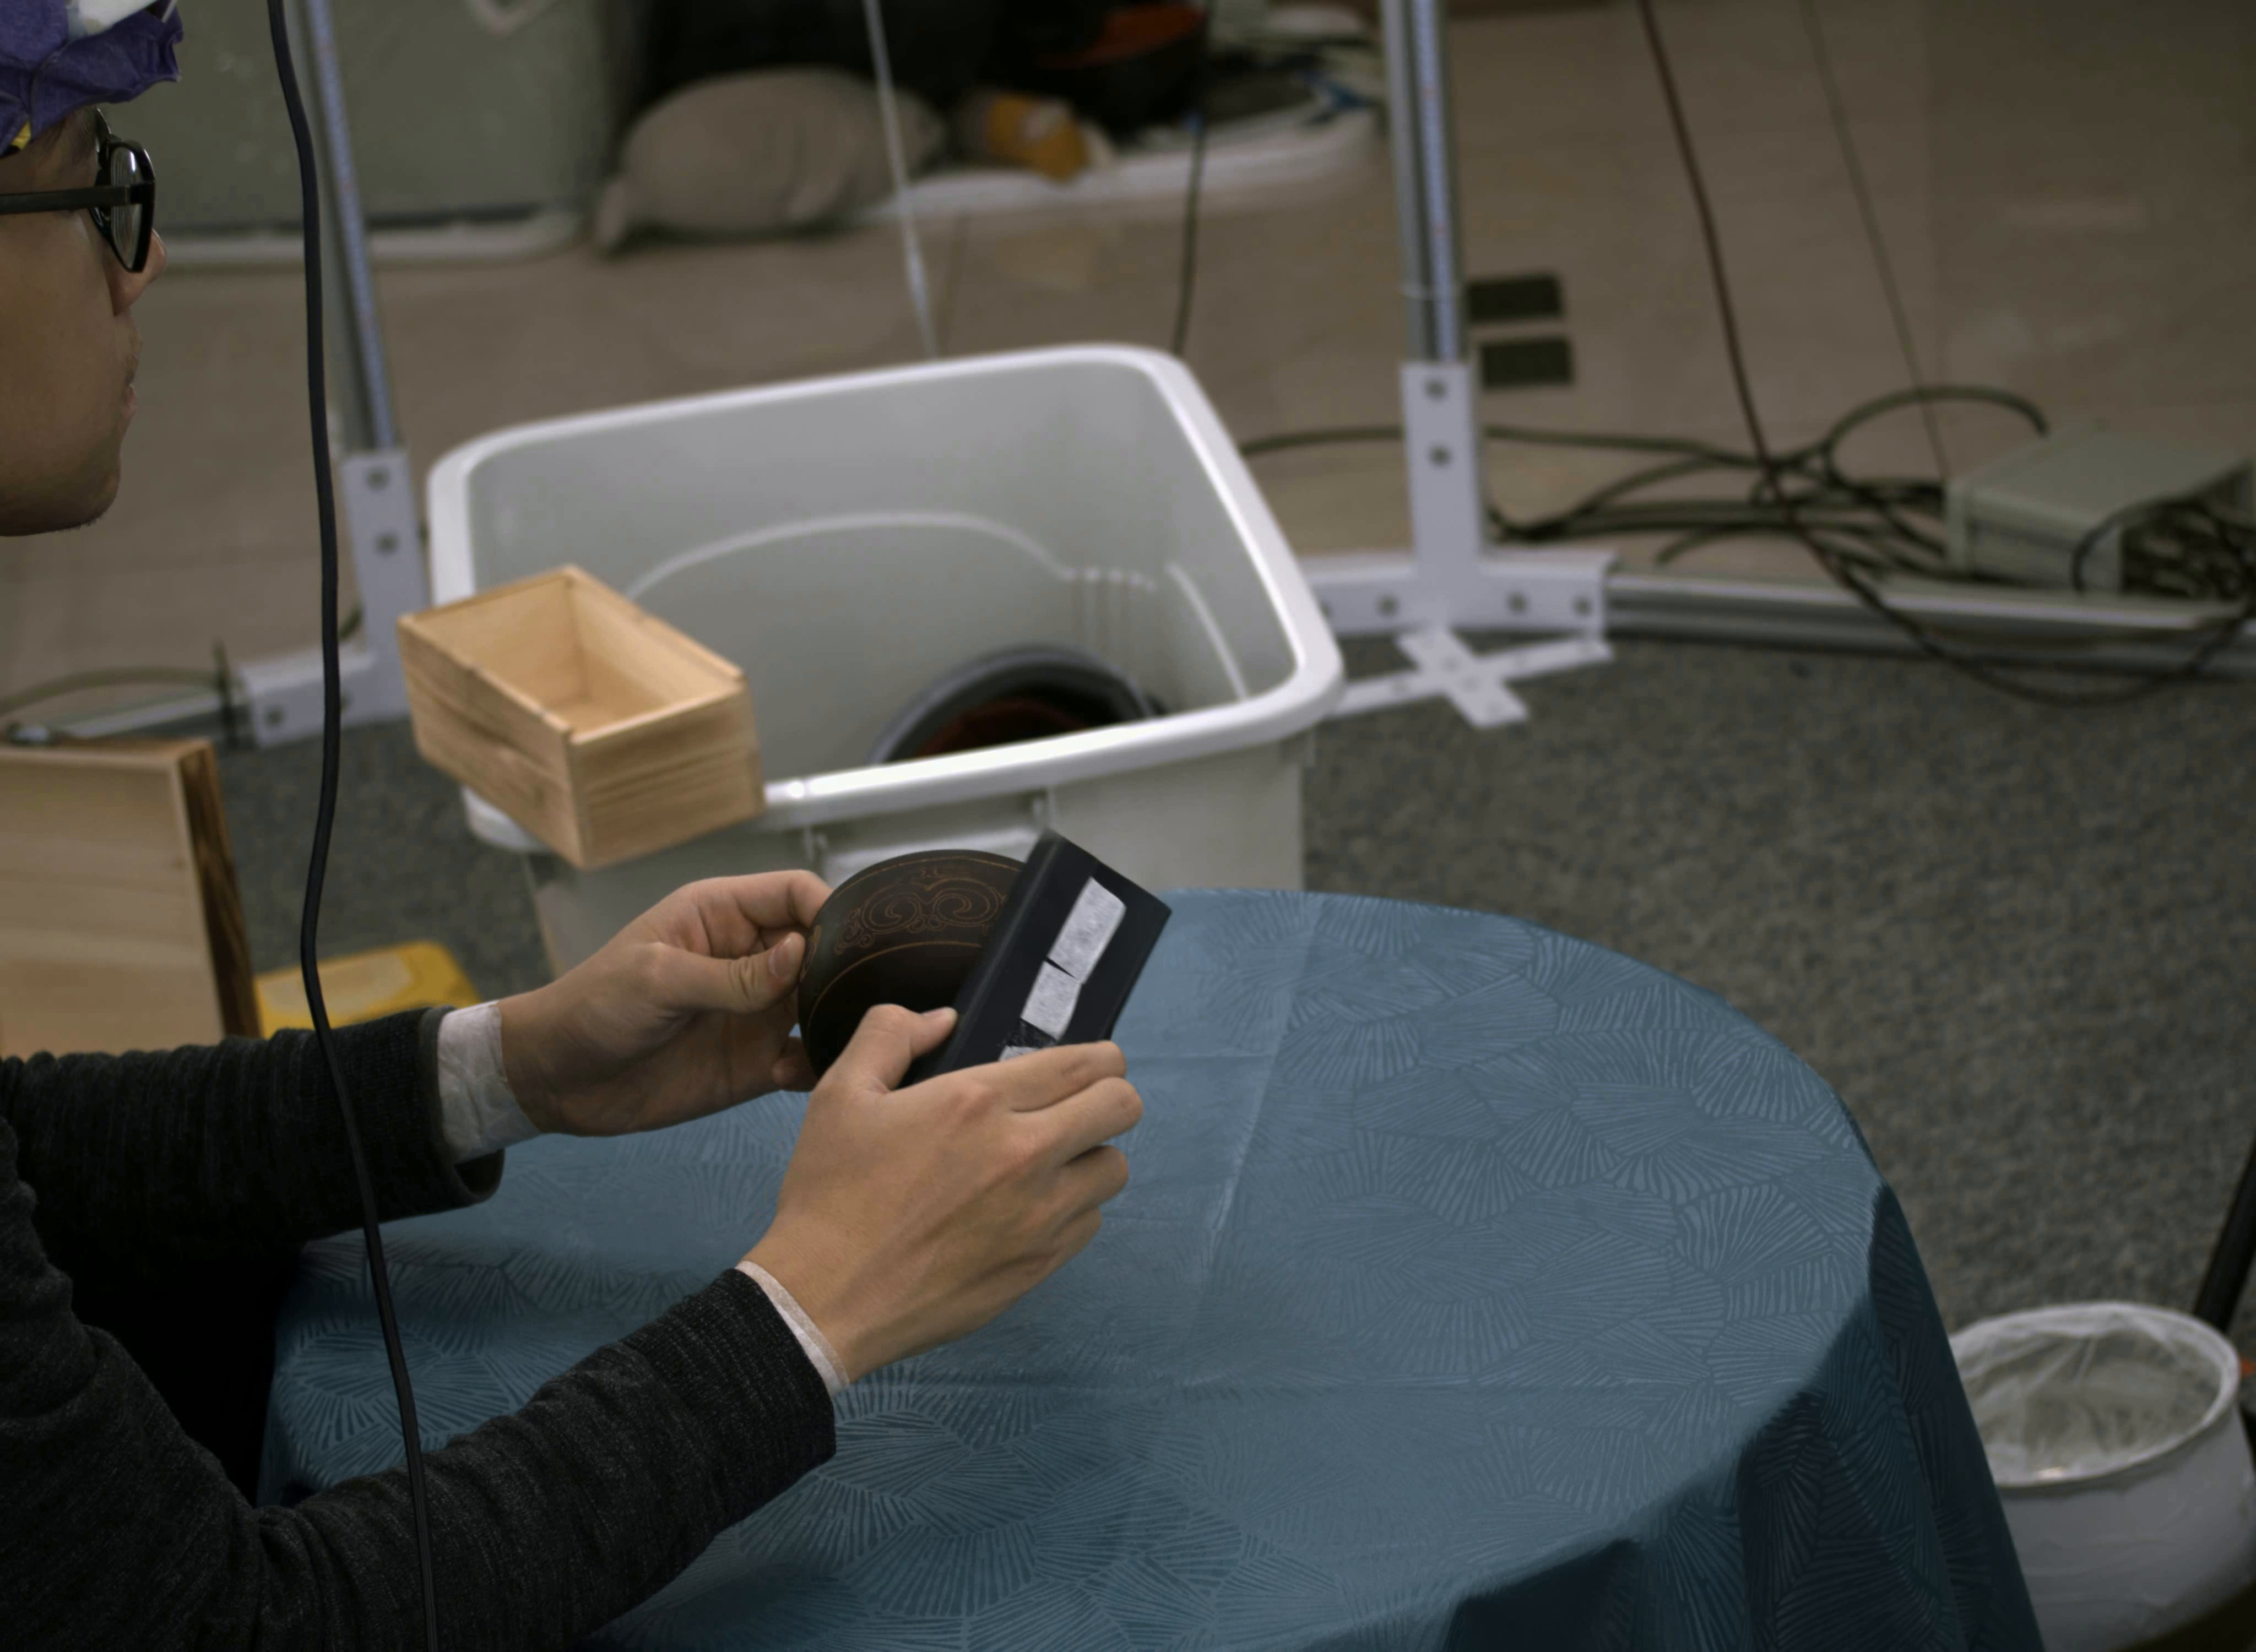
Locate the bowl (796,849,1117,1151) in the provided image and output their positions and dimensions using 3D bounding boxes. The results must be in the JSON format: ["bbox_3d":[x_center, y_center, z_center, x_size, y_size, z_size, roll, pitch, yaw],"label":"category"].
[{"bbox_3d":[-0.063,0.073,2.052,0.118,0.120,0.068,-4,44,5],"label":"bowl"}]

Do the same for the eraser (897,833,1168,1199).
[{"bbox_3d":[-0.034,0.066,1.990,0.053,0.031,0.124,30,63,-10],"label":"eraser"}]
